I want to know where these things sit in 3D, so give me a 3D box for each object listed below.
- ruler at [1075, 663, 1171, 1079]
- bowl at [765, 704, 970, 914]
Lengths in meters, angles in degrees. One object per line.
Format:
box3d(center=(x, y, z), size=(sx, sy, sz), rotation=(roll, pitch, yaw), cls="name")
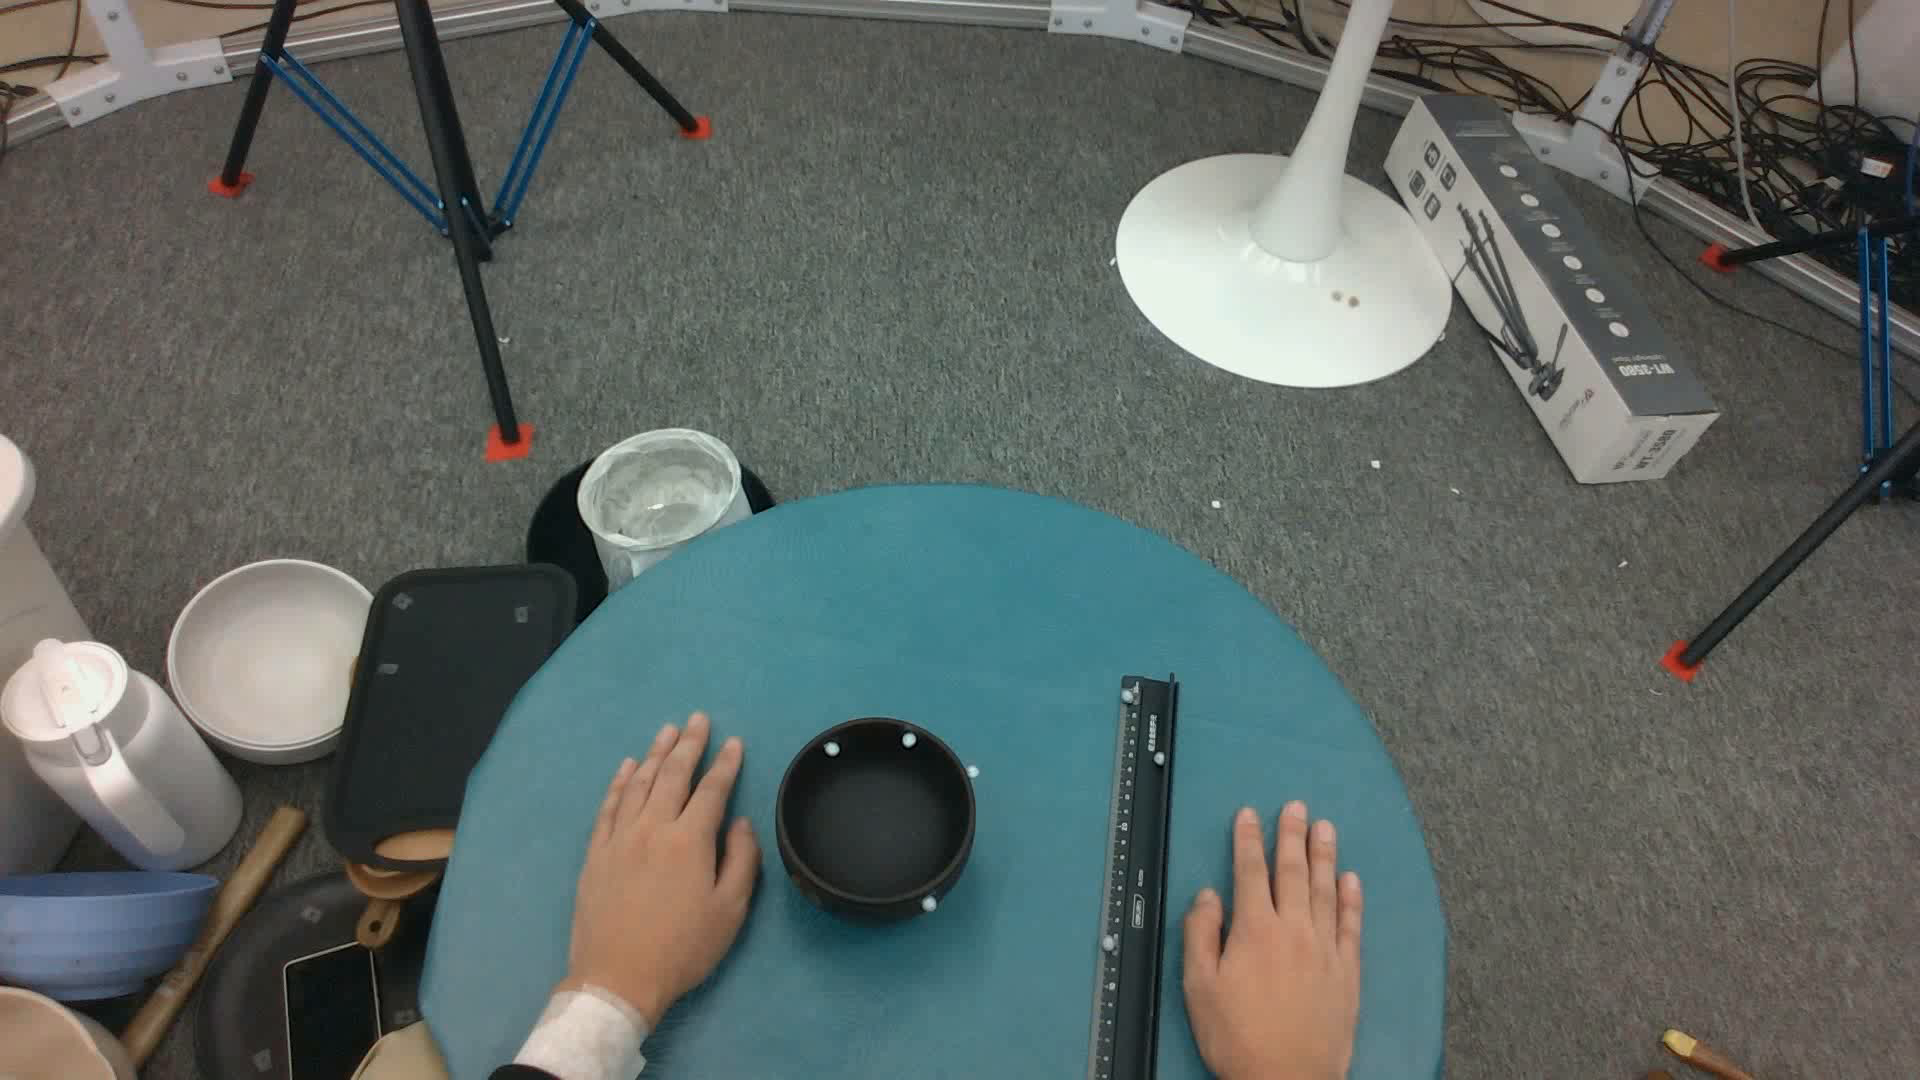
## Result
box3d(center=(0.100, 0.206, 0.827), size=(0.039, 0.017, 0.314), rotation=(8, 54, 5), cls="ruler")
box3d(center=(-0.055, 0.163, 0.805), size=(0.118, 0.069, 0.118), rotation=(3, 53, -4), cls="bowl")
